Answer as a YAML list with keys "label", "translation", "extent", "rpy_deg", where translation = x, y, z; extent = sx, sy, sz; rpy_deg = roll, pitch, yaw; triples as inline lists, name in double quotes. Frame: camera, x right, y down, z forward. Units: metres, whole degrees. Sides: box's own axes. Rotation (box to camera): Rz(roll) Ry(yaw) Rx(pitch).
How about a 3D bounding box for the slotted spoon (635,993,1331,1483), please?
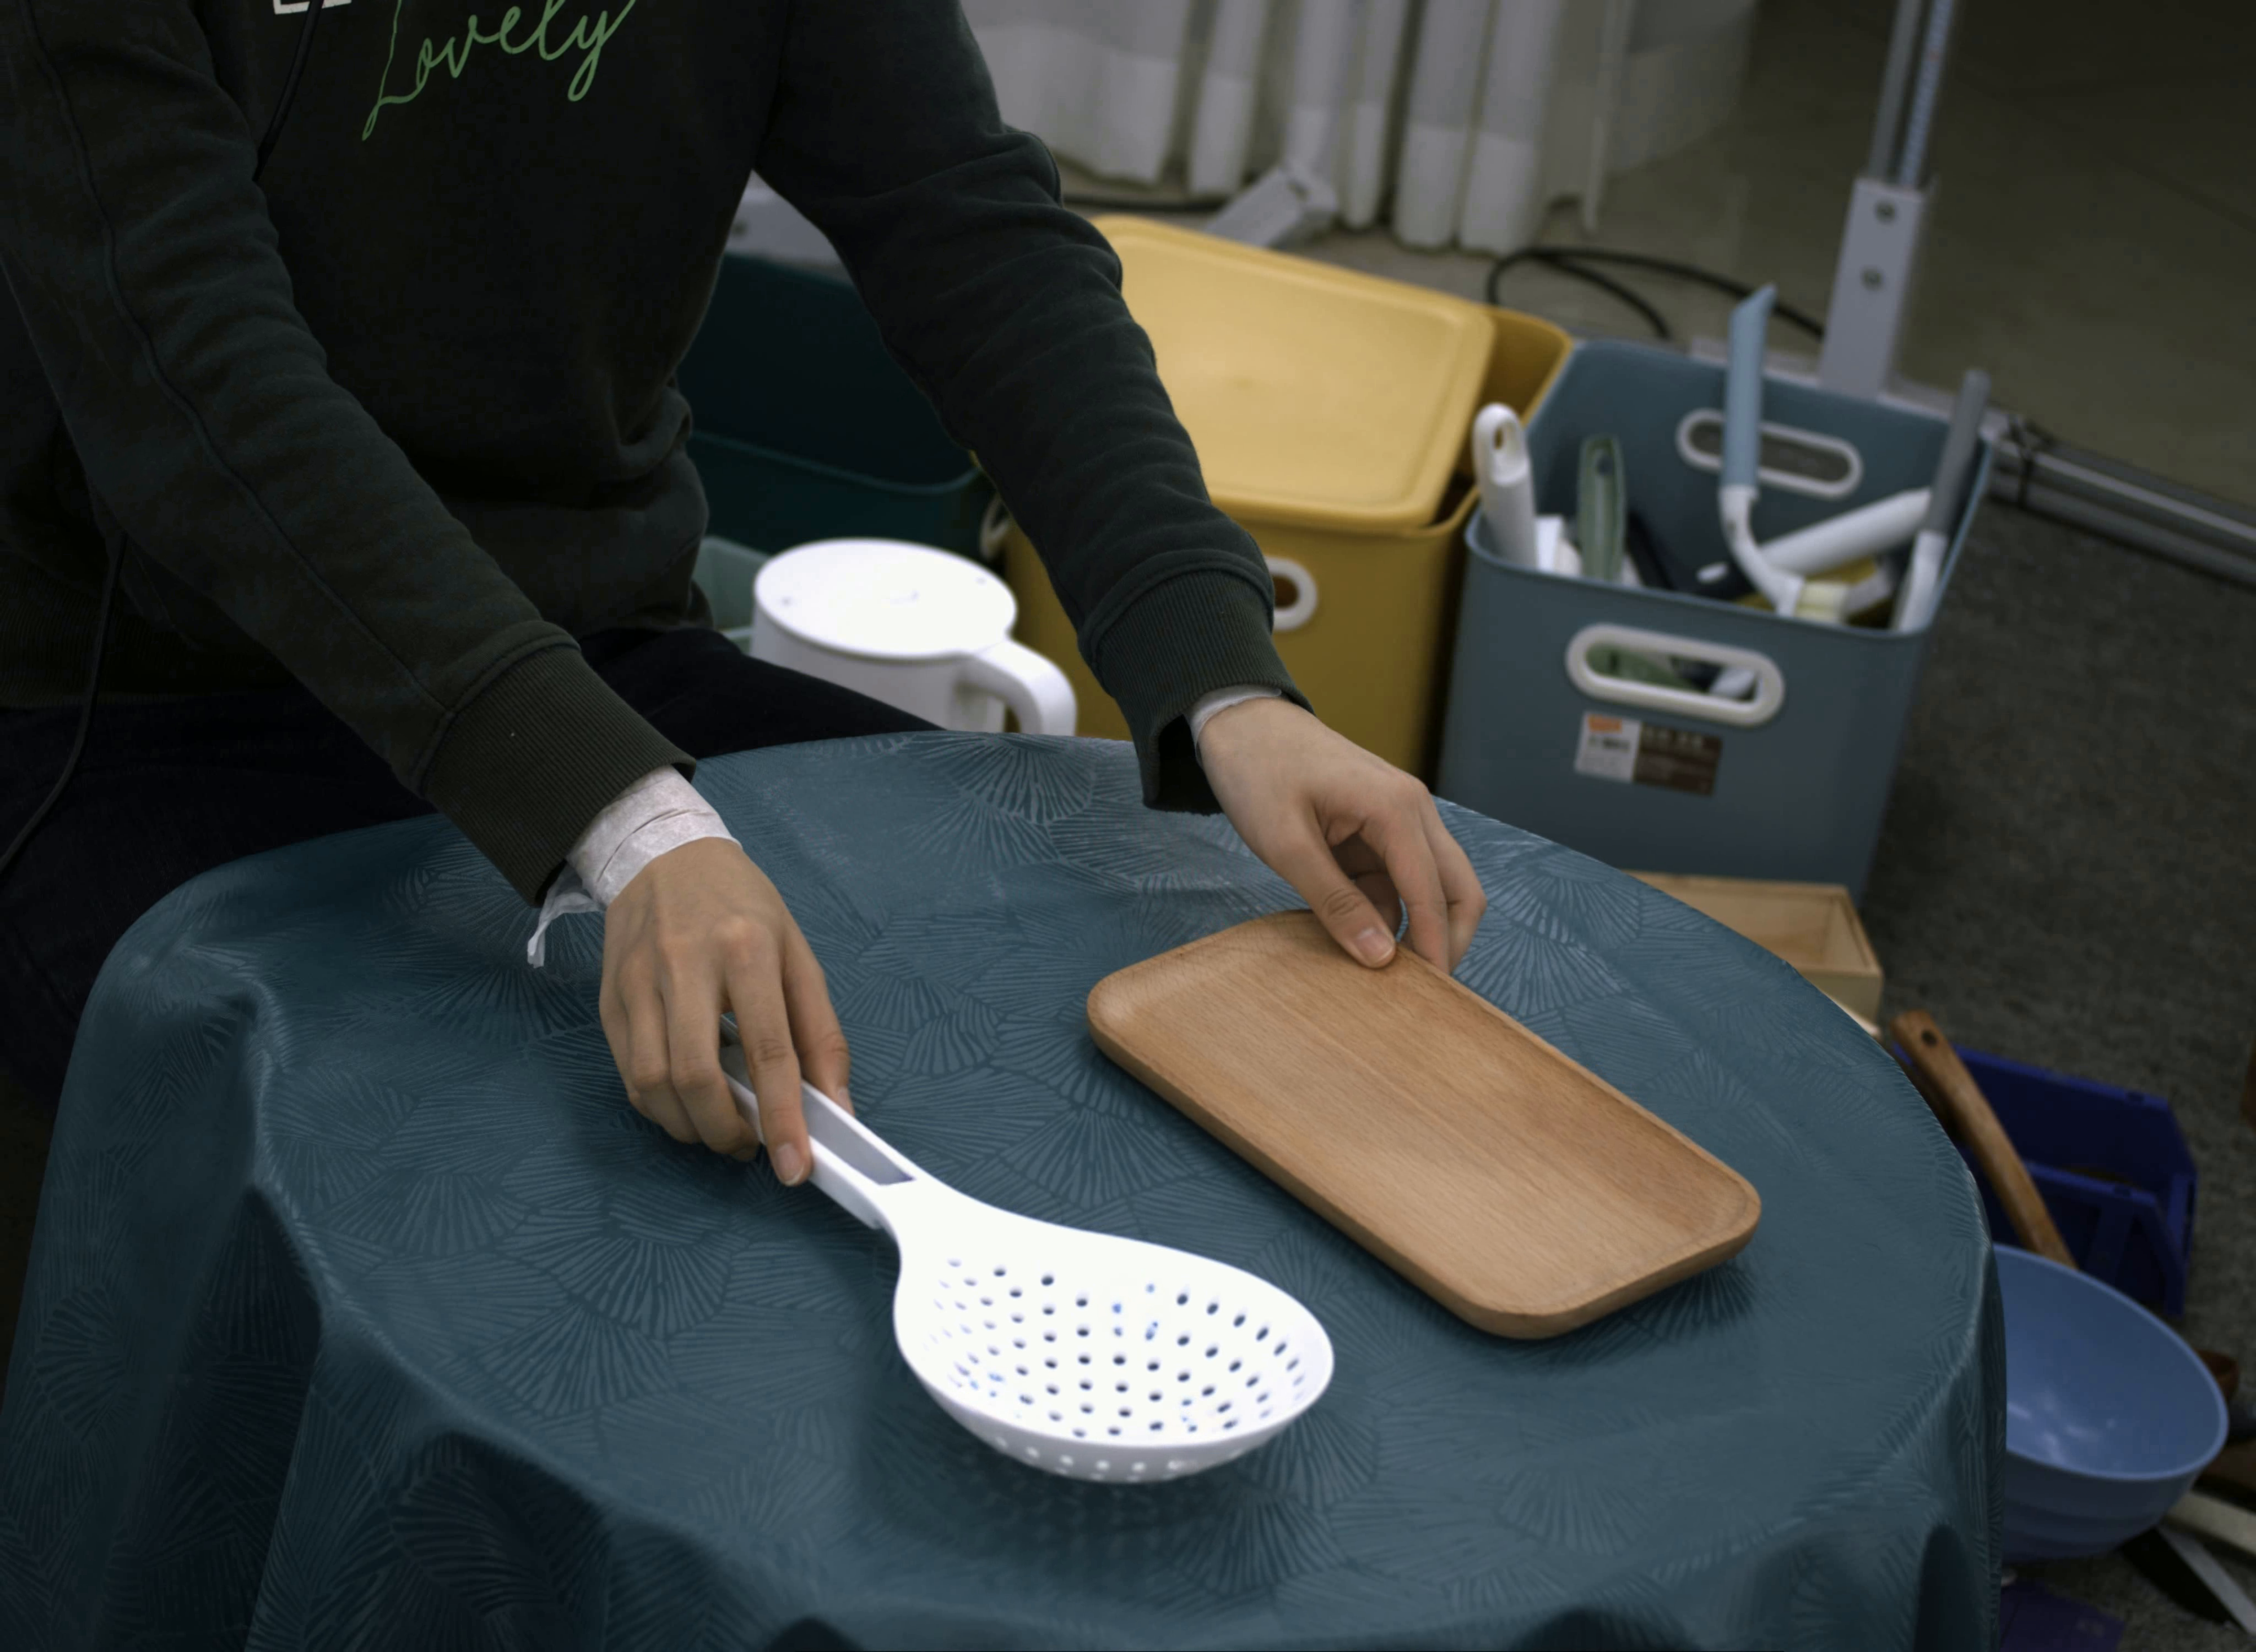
- label: "slotted spoon"
  translation: [-0.066, 0.127, 1.726]
  extent: [0.135, 0.045, 0.353]
  rpy_deg: [-8, 30, -33]

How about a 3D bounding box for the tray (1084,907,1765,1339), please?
- label: "tray"
  translation: [0.099, 0.100, 1.840]
  extent: [0.130, 0.023, 0.253]
  rpy_deg: [-18, 34, -33]
